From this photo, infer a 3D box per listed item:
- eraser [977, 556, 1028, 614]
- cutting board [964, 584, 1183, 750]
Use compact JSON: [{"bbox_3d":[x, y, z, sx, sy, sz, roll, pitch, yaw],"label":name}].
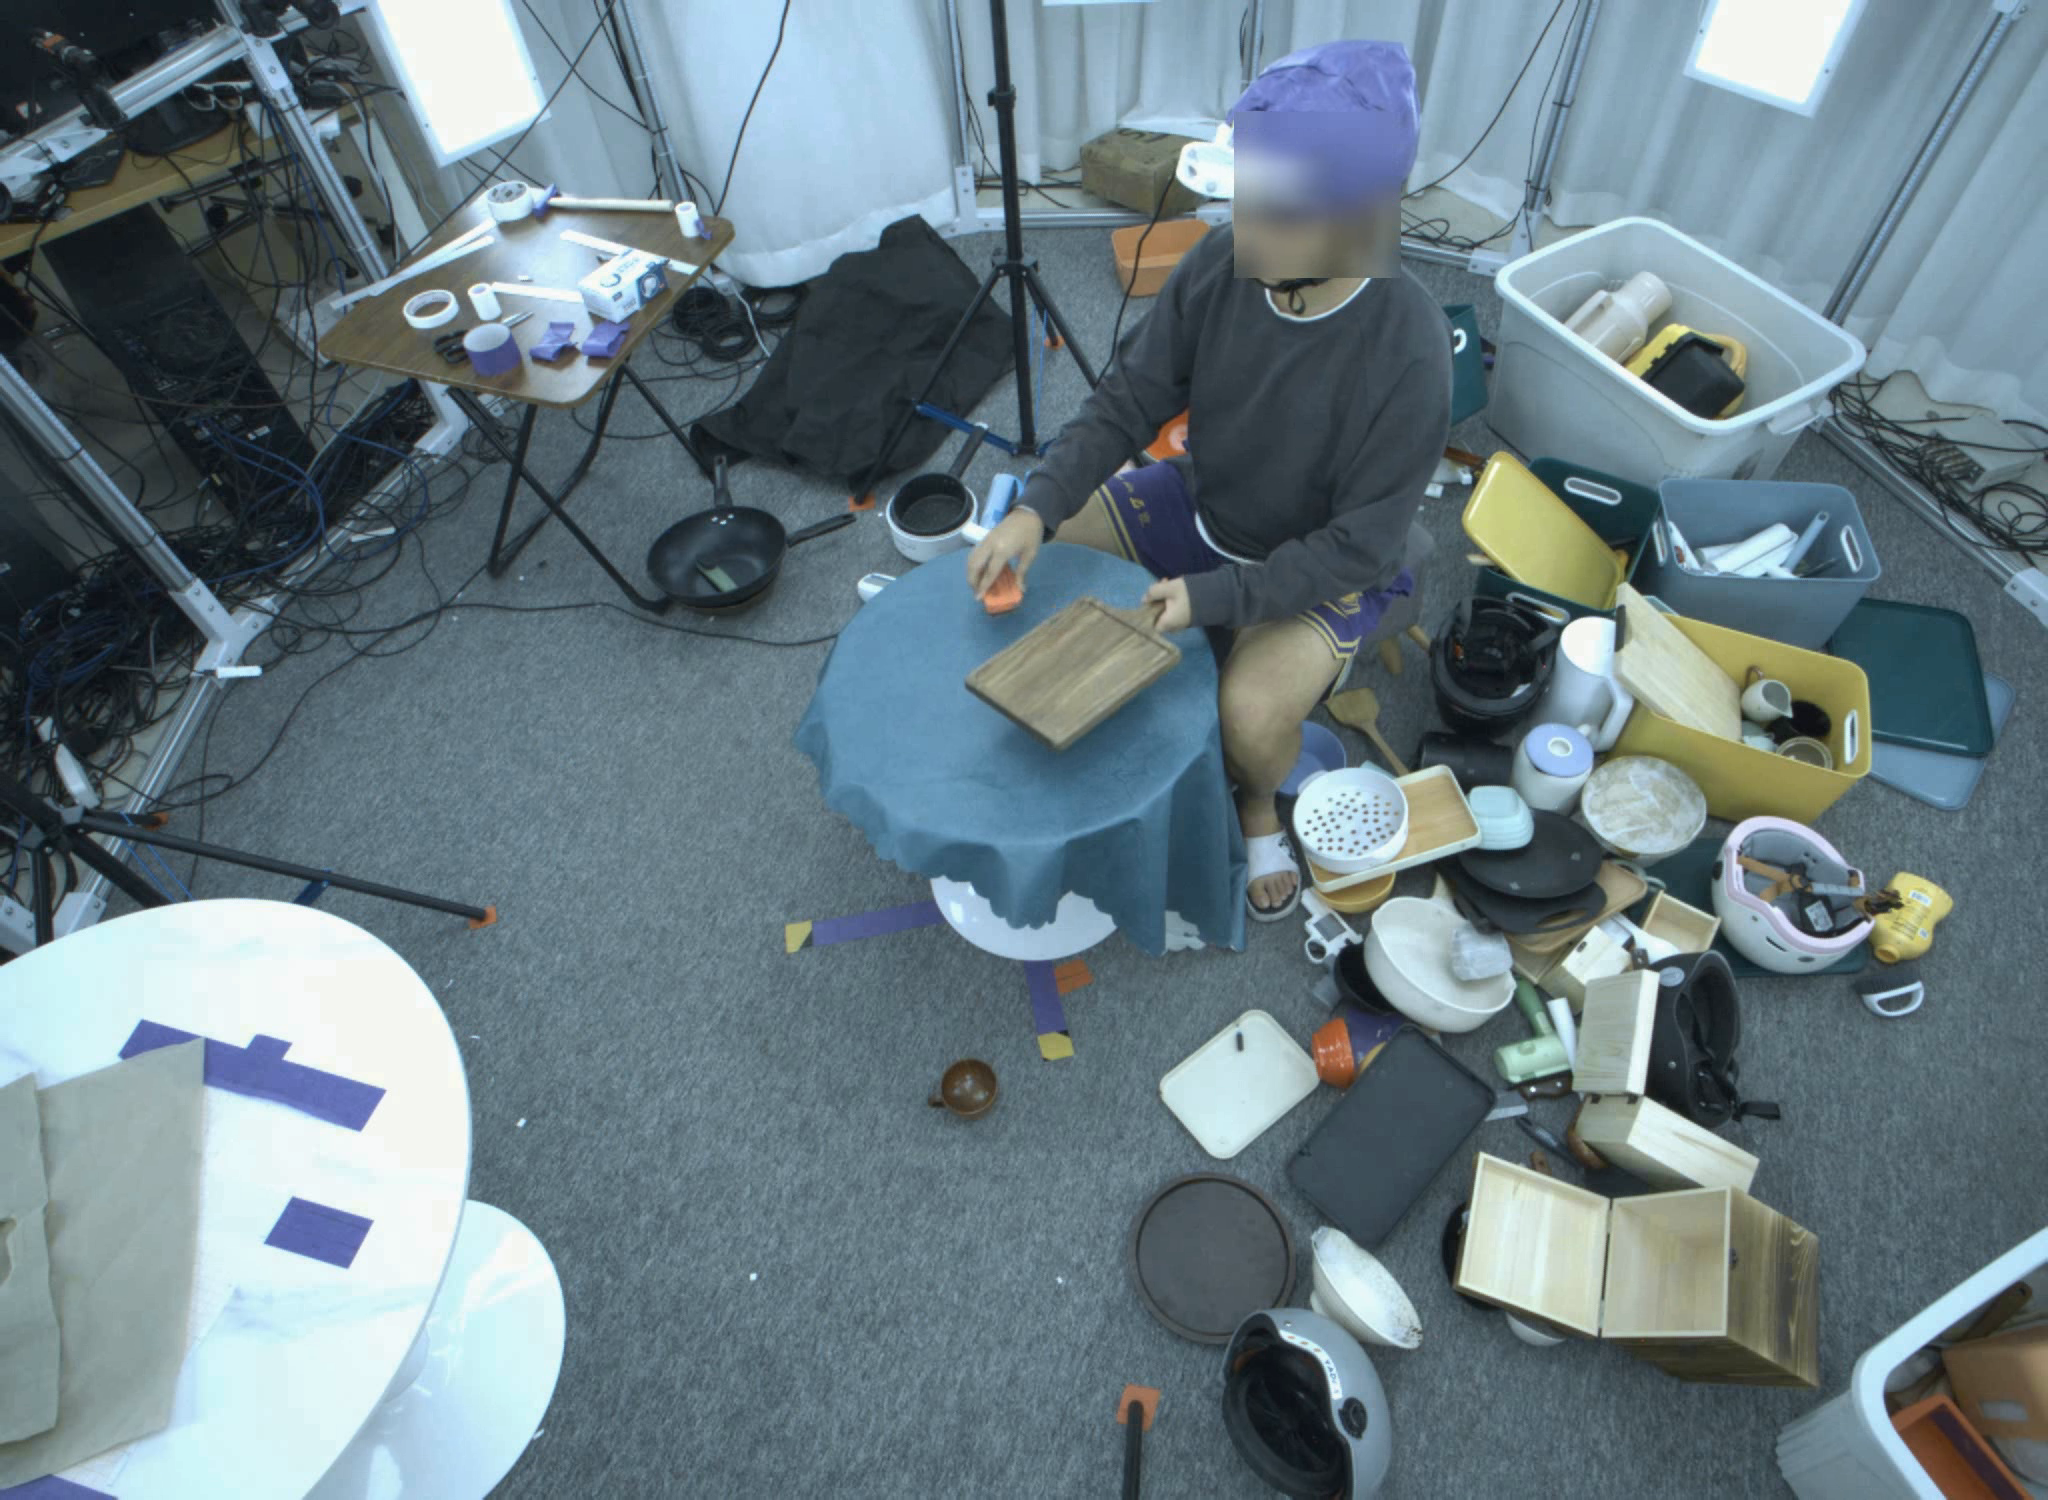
[{"bbox_3d":[-0.034,-0.254,1.883,0.059,0.023,0.106,-16,46,-3],"label":"eraser"},{"bbox_3d":[0.105,-0.142,1.756,0.355,0.023,0.197,-37,54,-27],"label":"cutting board"}]
